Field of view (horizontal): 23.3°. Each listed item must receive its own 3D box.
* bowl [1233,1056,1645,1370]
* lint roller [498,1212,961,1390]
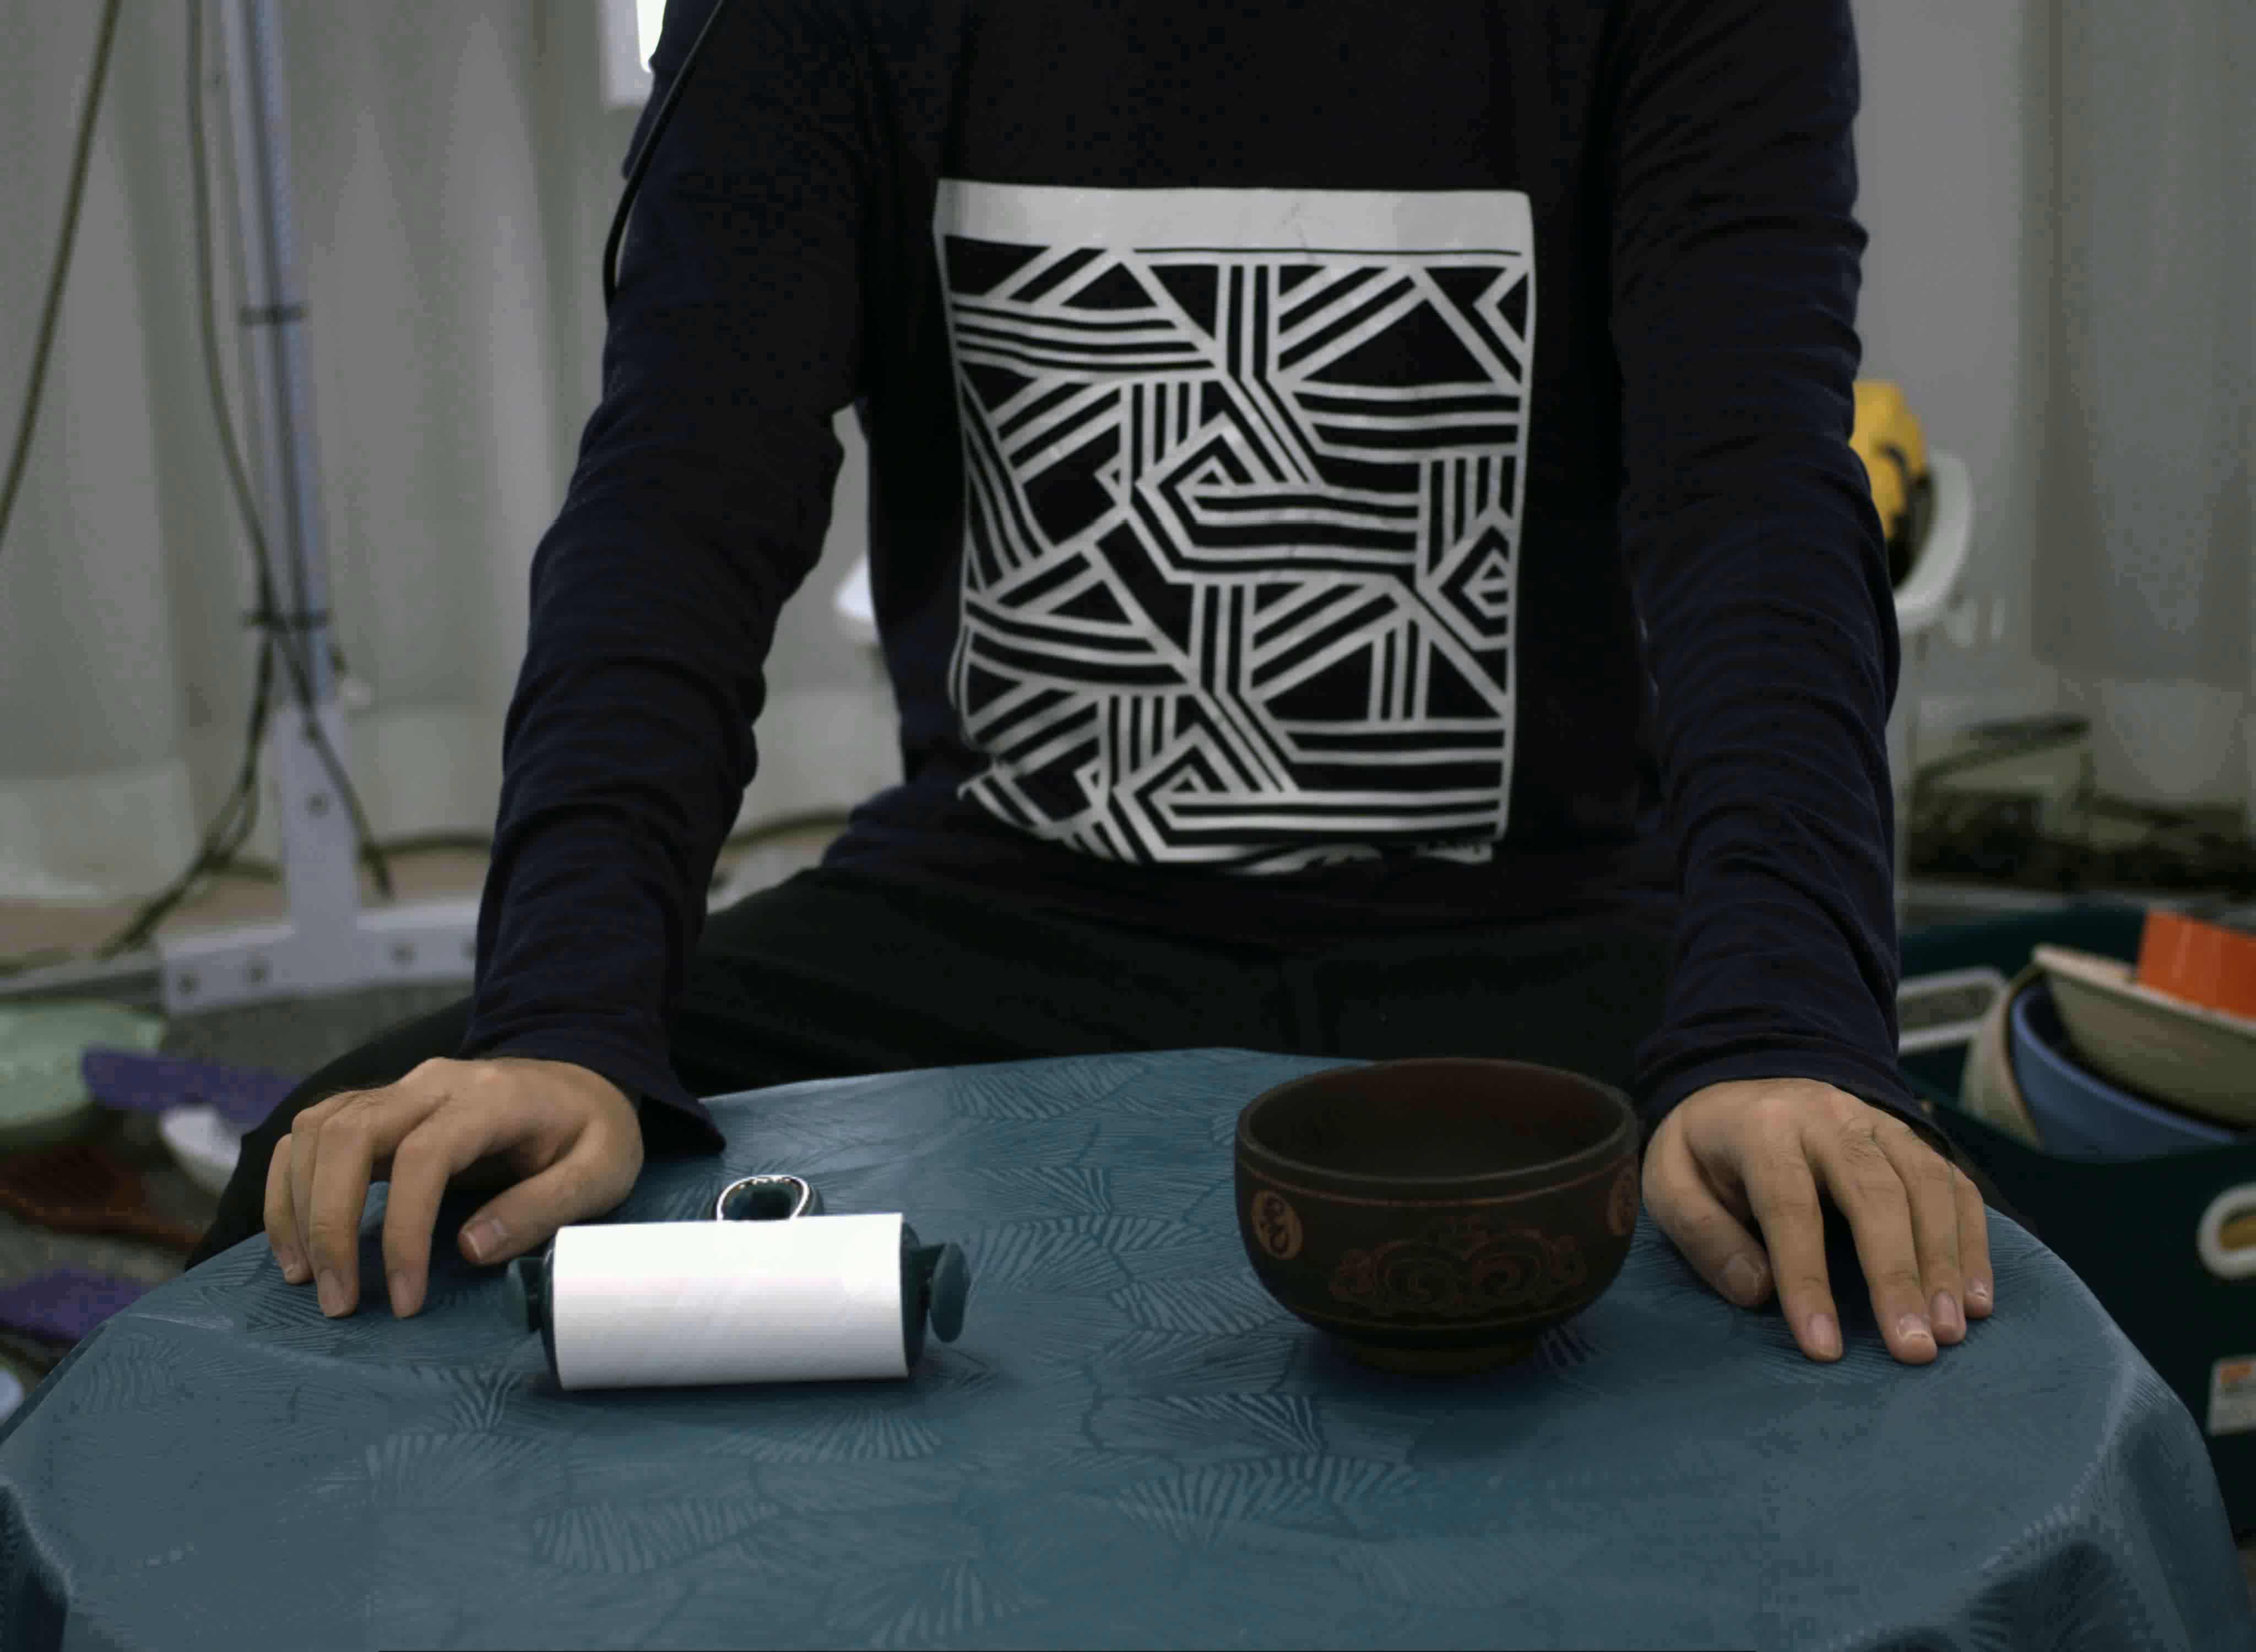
[{"bbox_3d":[0.090,0.114,1.562,0.117,0.069,0.119,-4,12,1],"label":"bowl"},{"bbox_3d":[-0.114,0.123,1.631,0.134,0.048,0.181,-3,12,1],"label":"lint roller"}]
